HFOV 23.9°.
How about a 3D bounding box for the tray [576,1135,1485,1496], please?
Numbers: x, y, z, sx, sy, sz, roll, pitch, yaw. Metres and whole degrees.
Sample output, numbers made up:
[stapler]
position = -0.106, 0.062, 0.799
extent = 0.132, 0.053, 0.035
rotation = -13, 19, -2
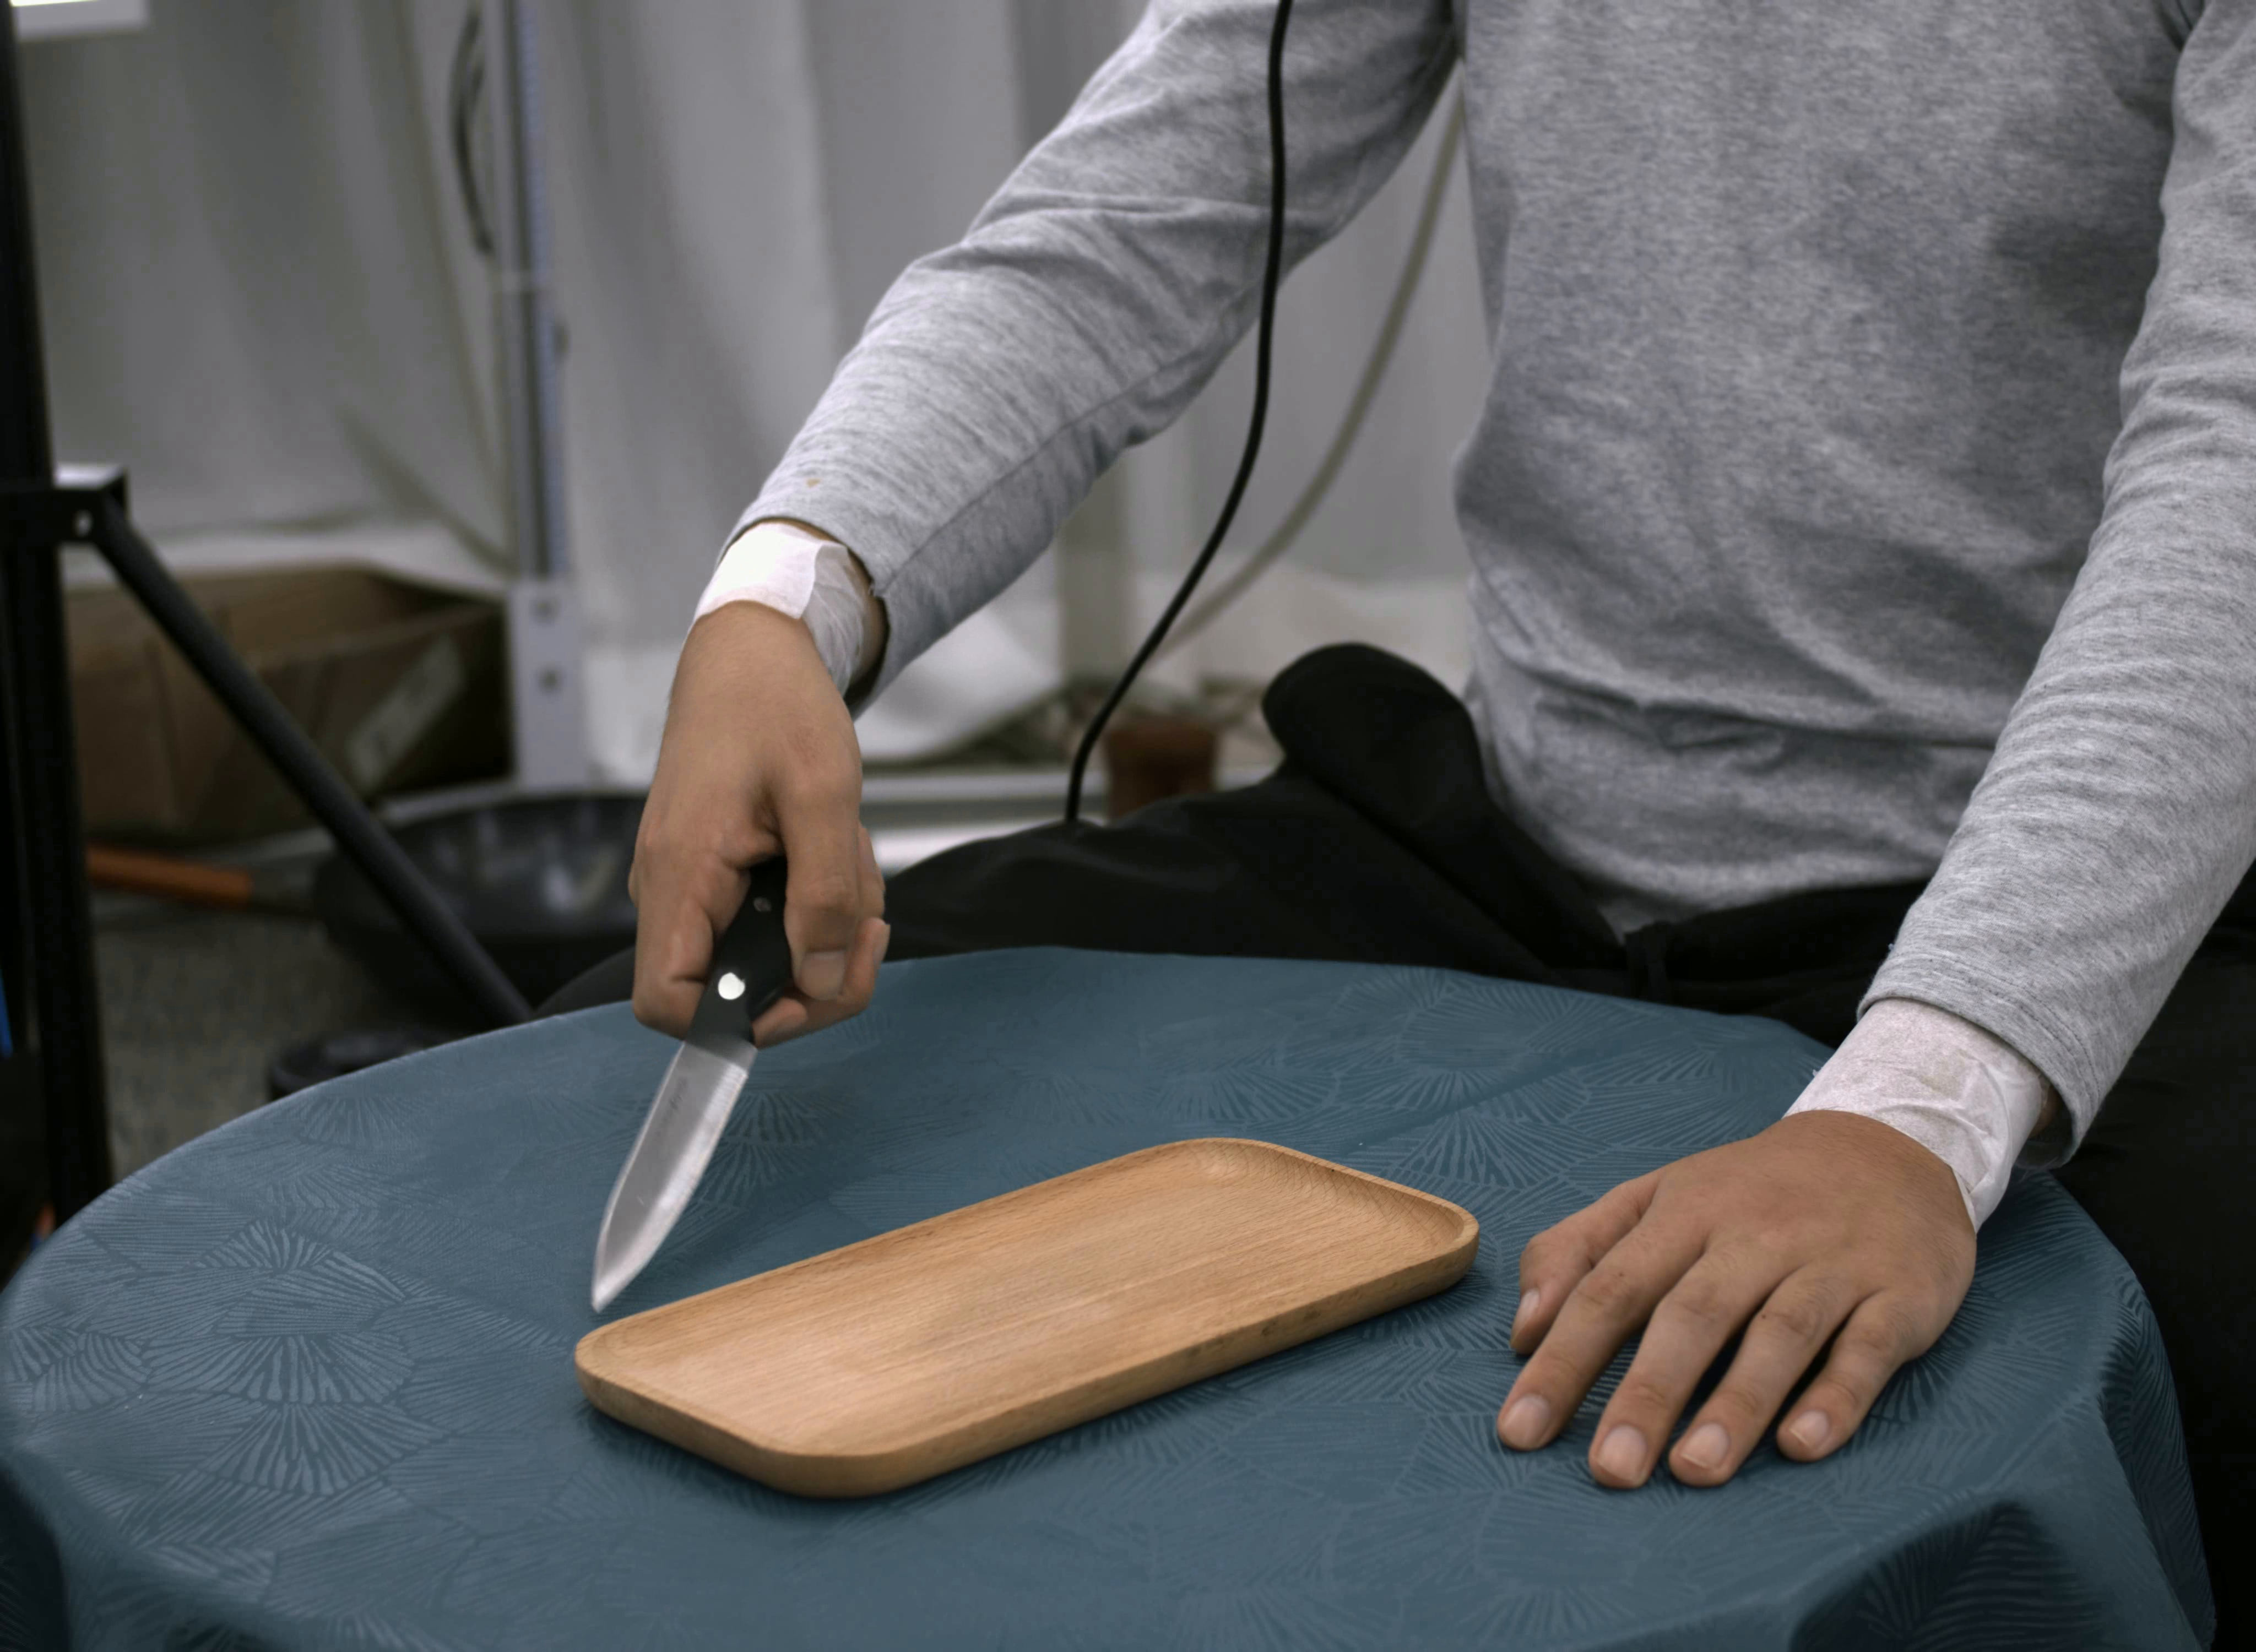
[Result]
[tray]
position = -0.023, 0.131, 1.452
extent = 0.245, 0.023, 0.133
rotation = -14, 22, -37

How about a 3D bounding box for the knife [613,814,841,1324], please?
[knife]
position = -0.121, 0.068, 1.567
extent = 0.024, 0.016, 0.238
rotation = 8, 37, 7
